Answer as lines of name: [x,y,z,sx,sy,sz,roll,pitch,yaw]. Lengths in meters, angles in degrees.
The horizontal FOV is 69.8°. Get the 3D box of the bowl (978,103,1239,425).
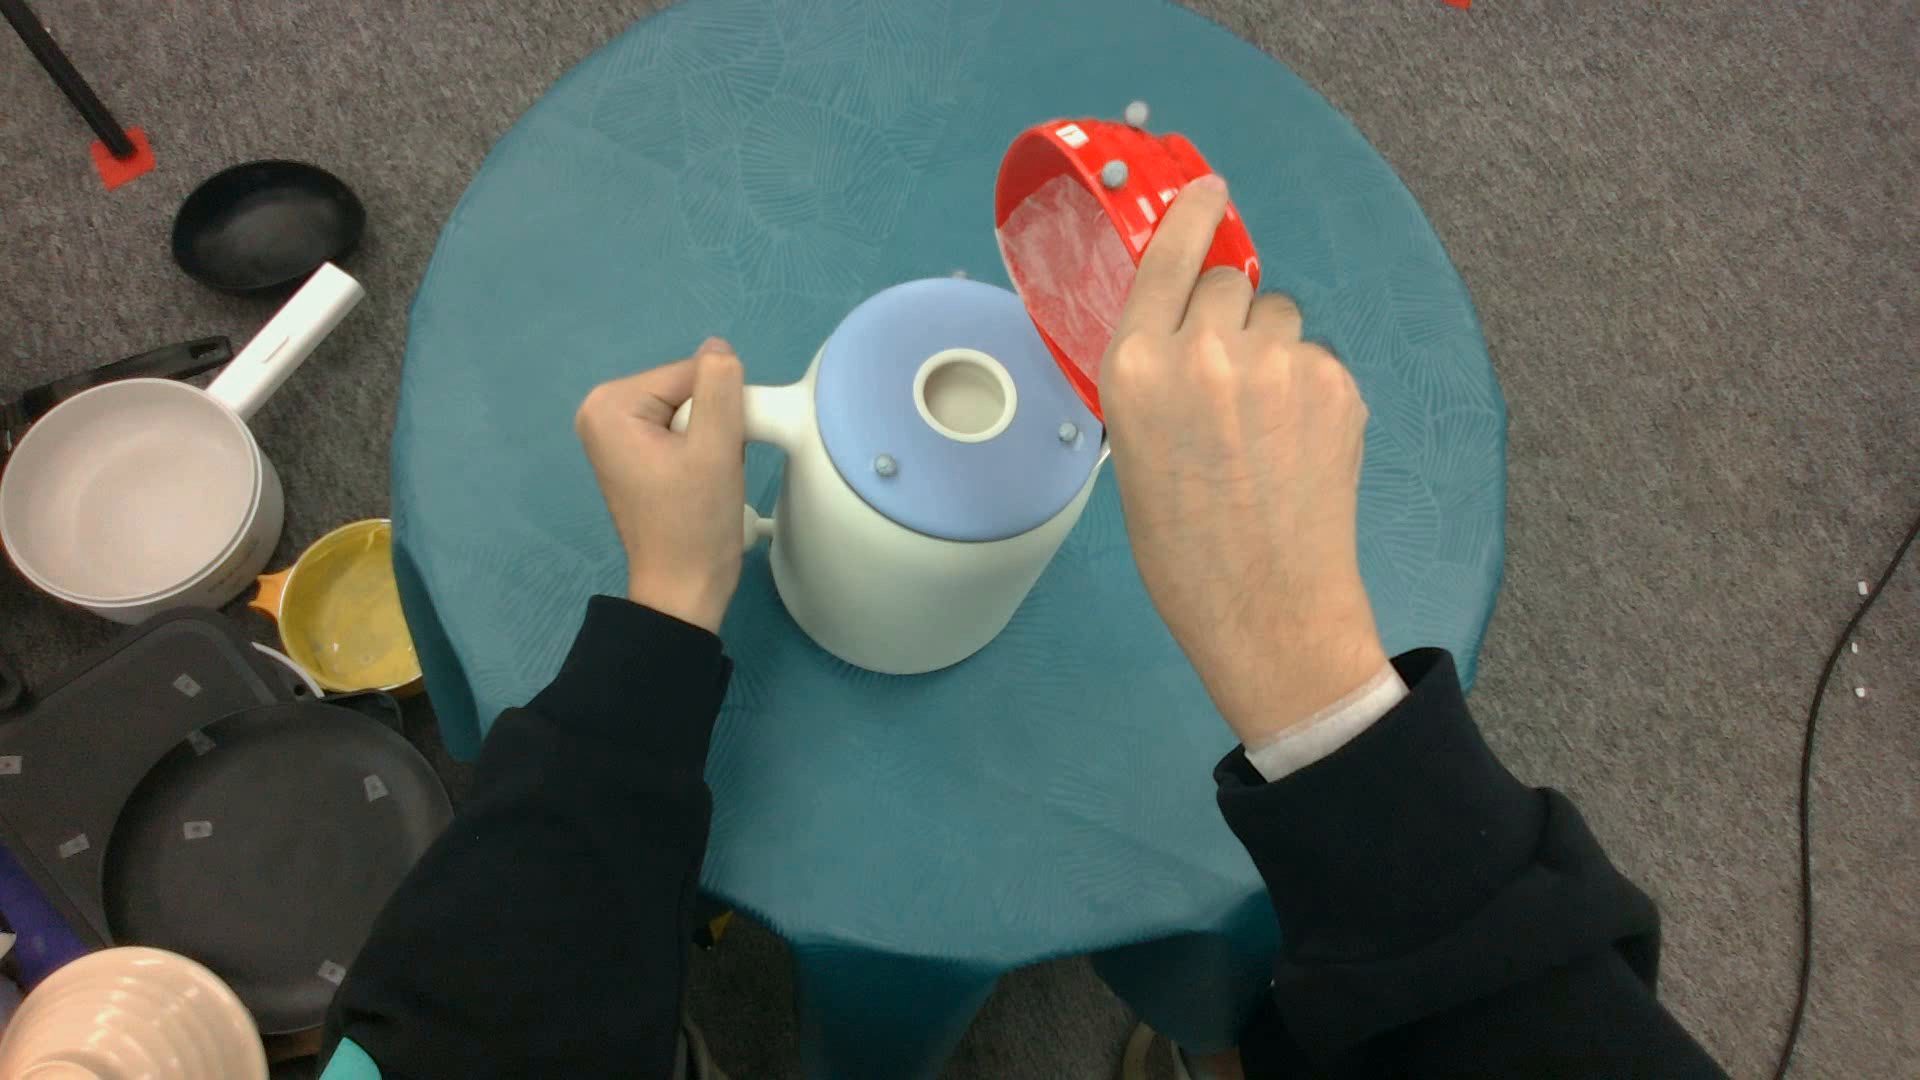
bowl: [0.056,-0.102,0.485,0.051,0.118,0.119,-26,75,-13]

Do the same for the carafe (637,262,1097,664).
carafe: [-0.048,-0.030,0.620,0.191,0.181,0.132,2,66,-10]
